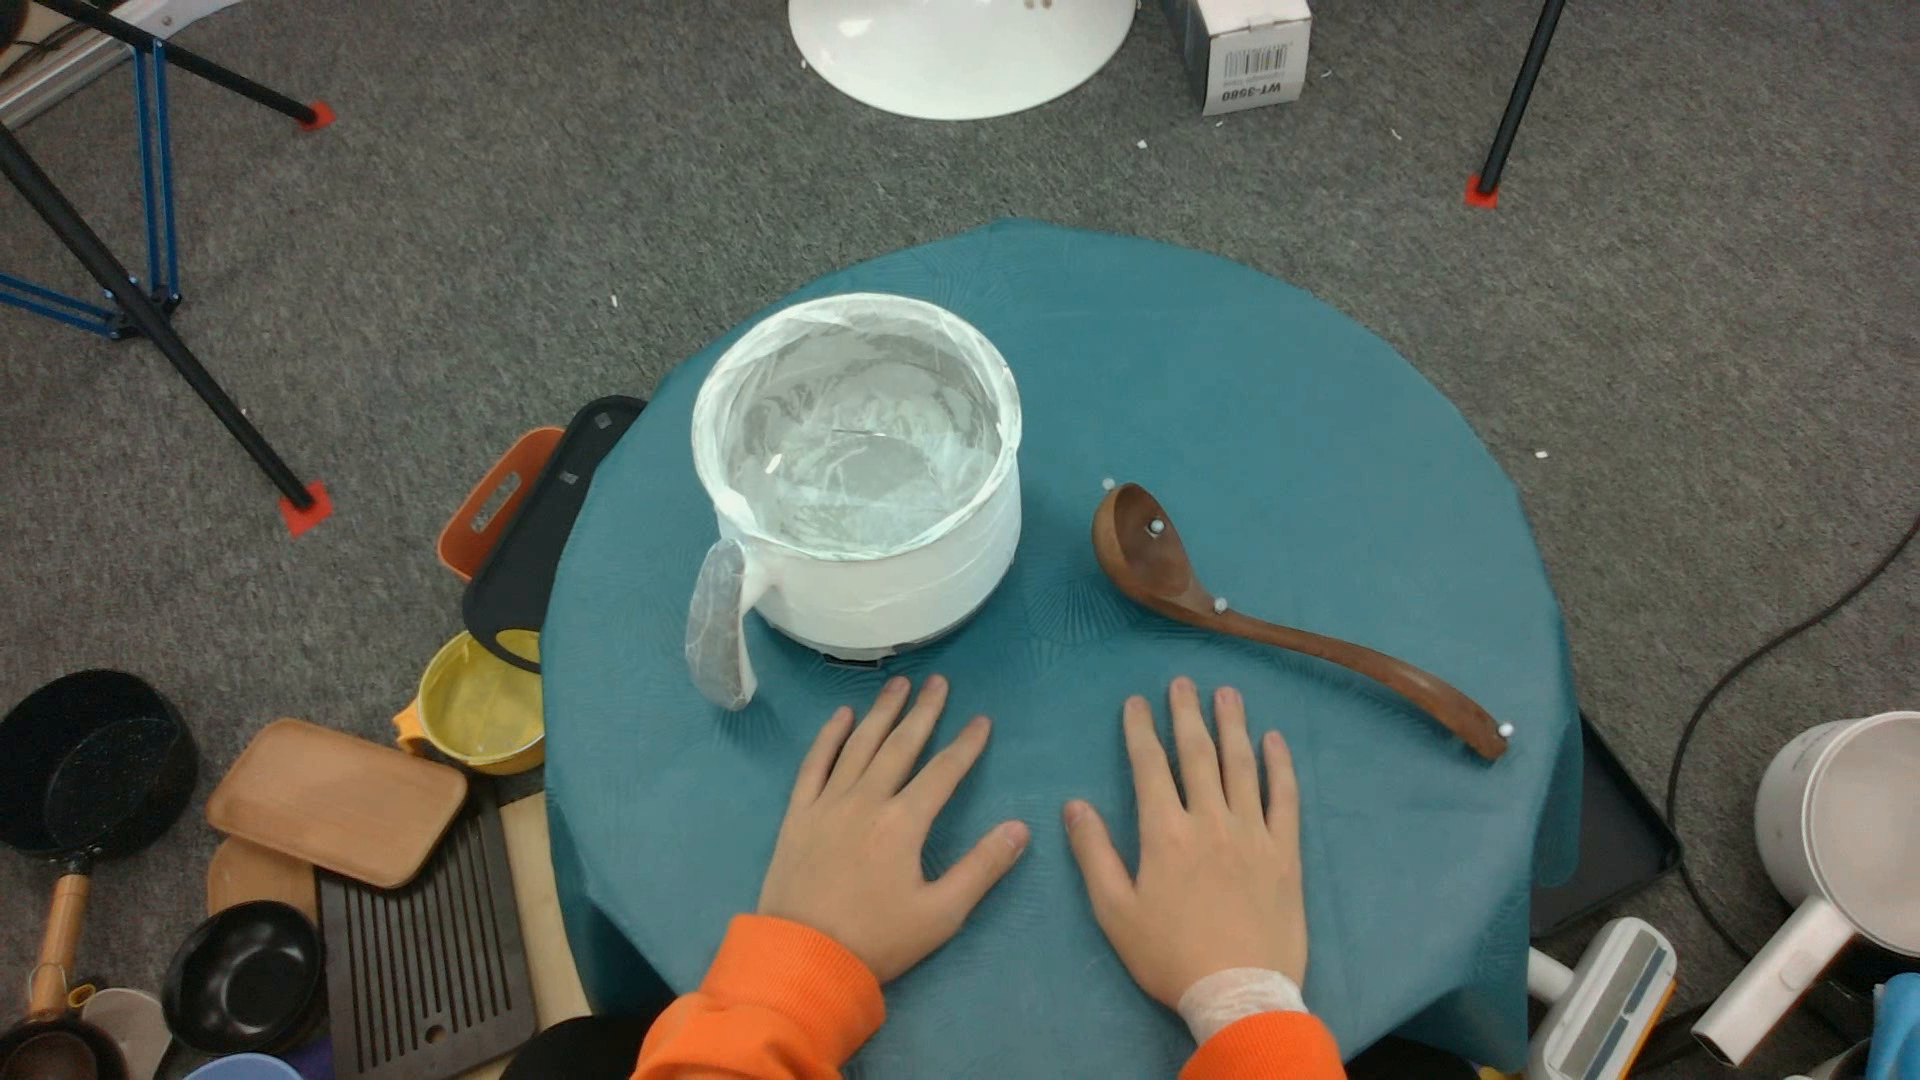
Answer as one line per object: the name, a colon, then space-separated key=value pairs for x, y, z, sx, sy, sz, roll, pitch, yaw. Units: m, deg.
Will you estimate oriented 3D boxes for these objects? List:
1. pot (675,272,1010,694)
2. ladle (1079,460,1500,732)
pot: x=-0.076 y=-0.023 z=0.774 sx=0.179 sy=0.136 sz=0.234 roll=30 pitch=64 yaw=19
ladle: x=0.186 y=0.030 z=0.778 sx=0.260 sy=0.065 sz=0.077 roll=24 pitch=39 yaw=16
